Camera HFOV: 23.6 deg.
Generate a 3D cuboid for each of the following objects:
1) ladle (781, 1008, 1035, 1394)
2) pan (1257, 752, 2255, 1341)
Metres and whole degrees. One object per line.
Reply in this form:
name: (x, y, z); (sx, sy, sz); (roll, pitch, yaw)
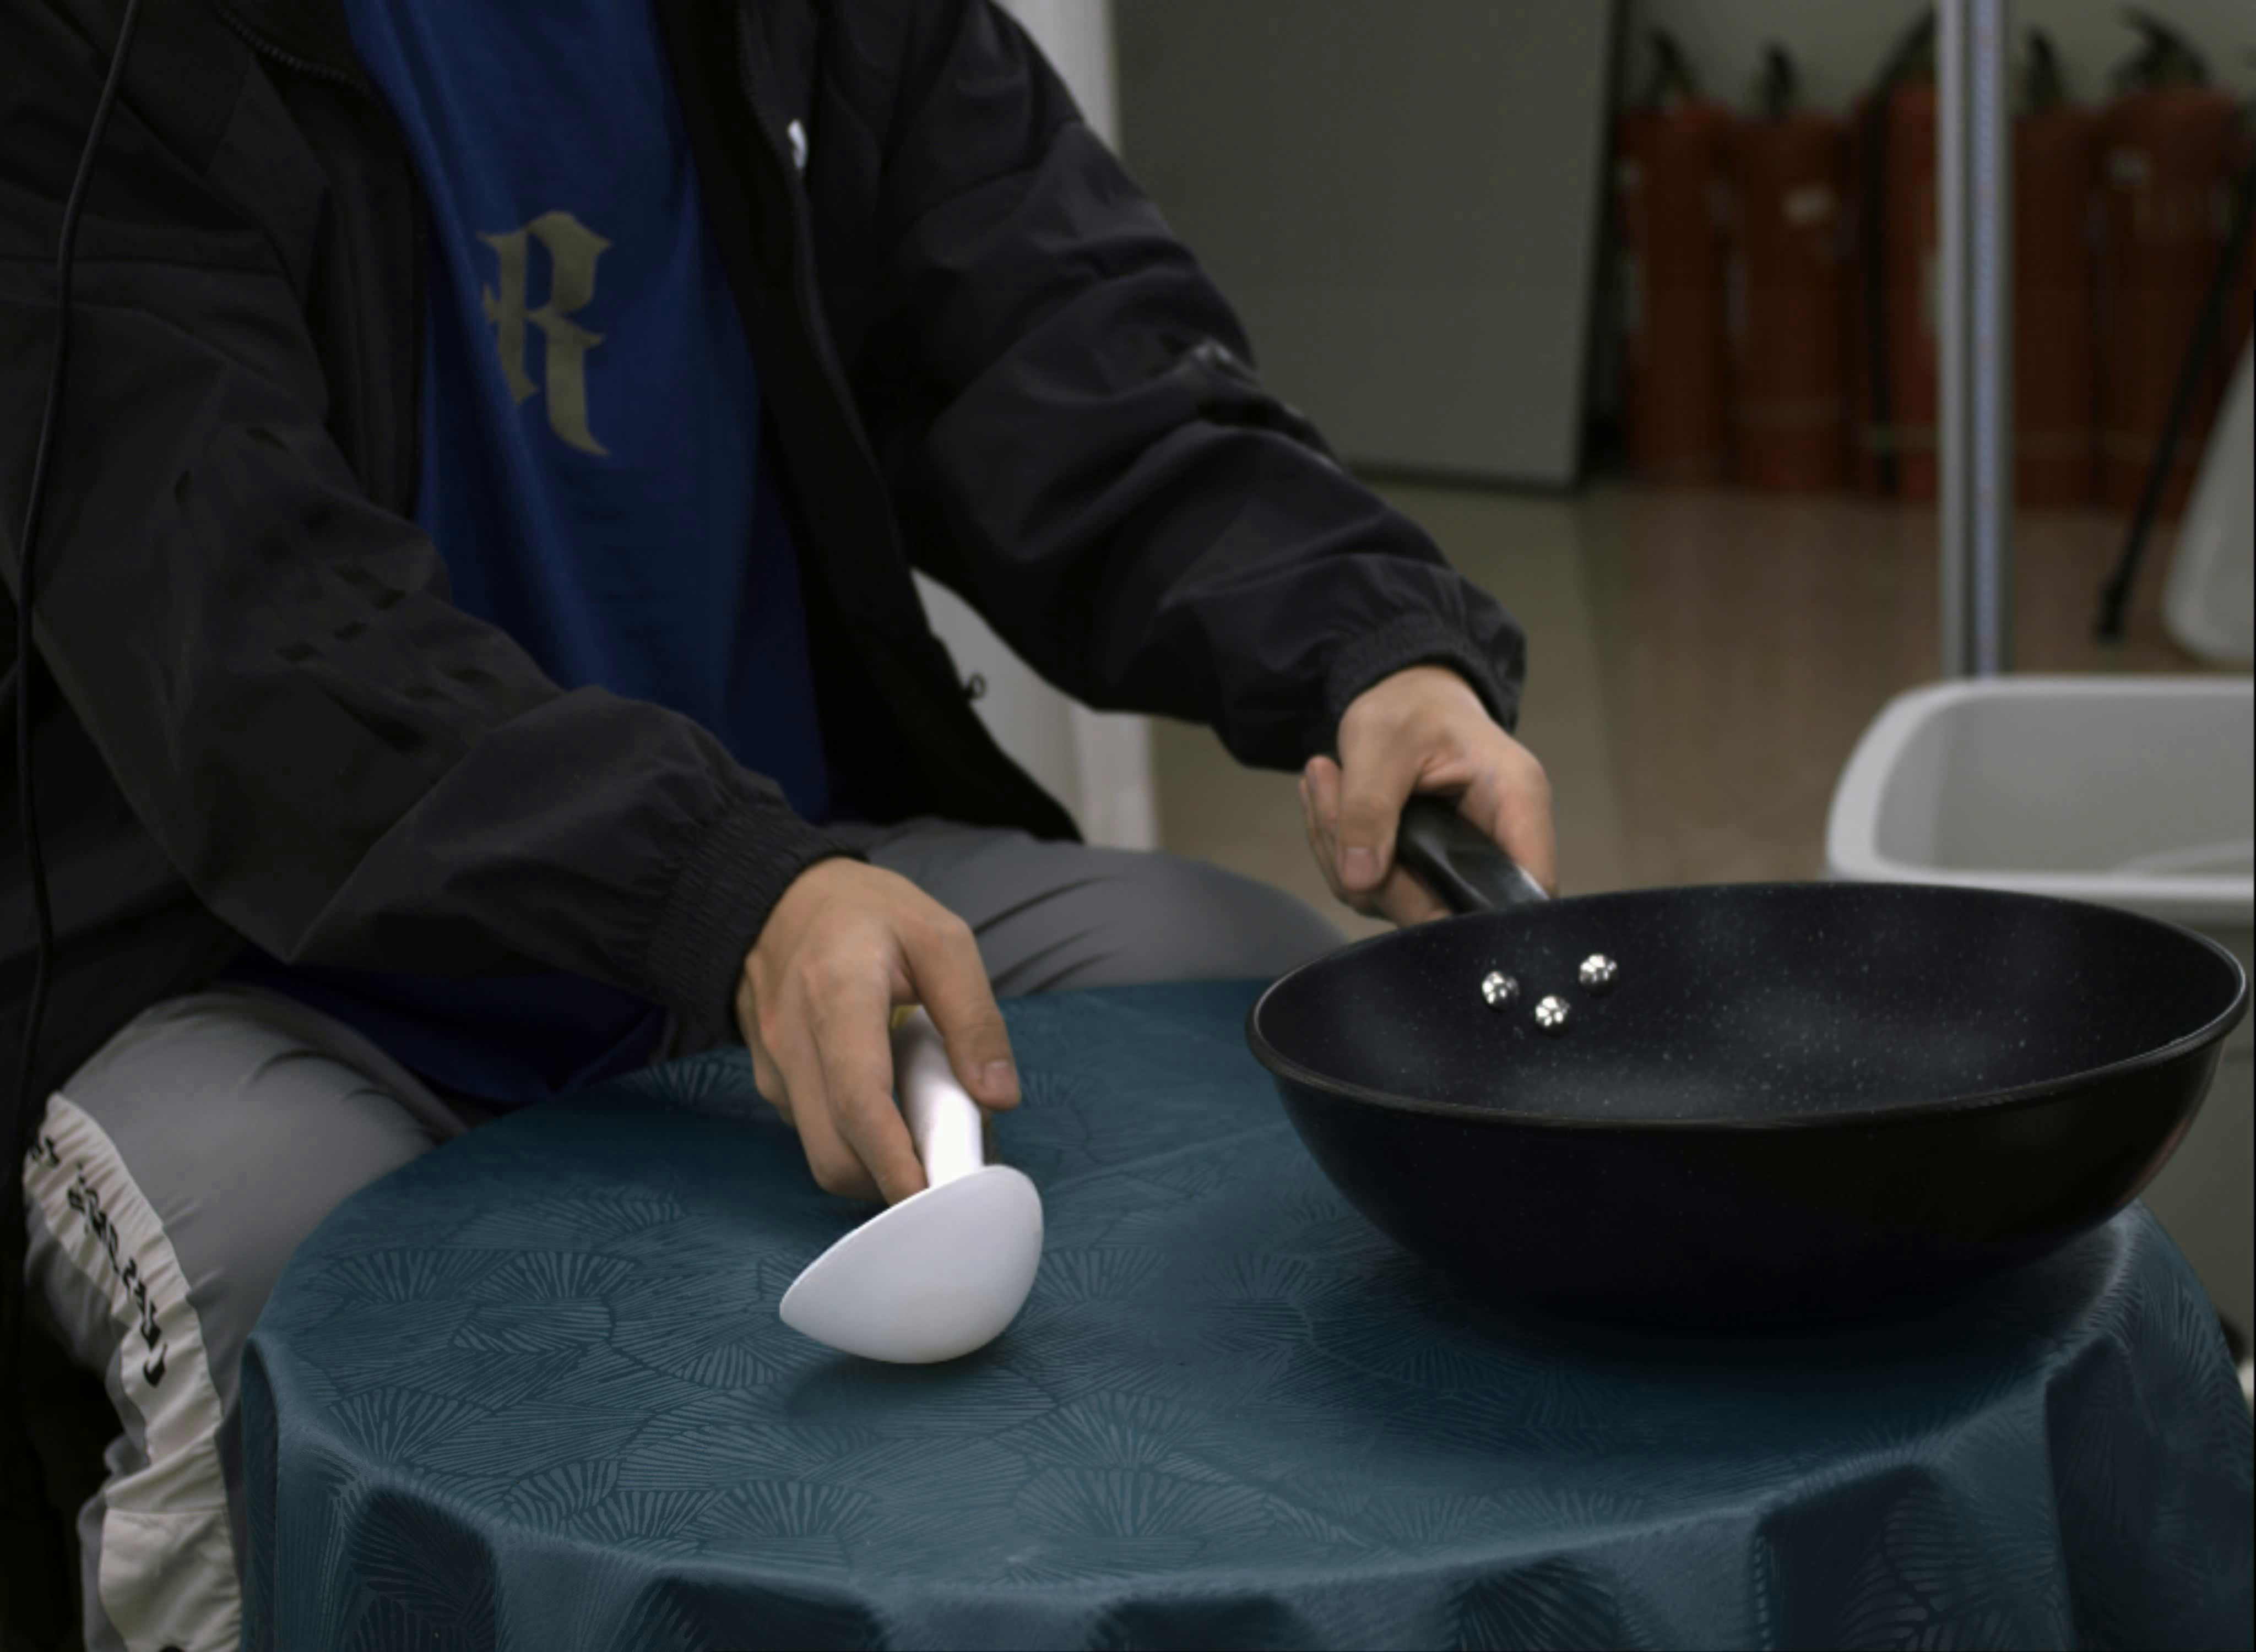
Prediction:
ladle: (-0.064, 0.106, 1.724); (0.090, 0.069, 0.293); (-43, 13, 11)
pan: (0.163, 0.068, 1.720); (0.304, 0.113, 0.481); (-6, 12, -20)
